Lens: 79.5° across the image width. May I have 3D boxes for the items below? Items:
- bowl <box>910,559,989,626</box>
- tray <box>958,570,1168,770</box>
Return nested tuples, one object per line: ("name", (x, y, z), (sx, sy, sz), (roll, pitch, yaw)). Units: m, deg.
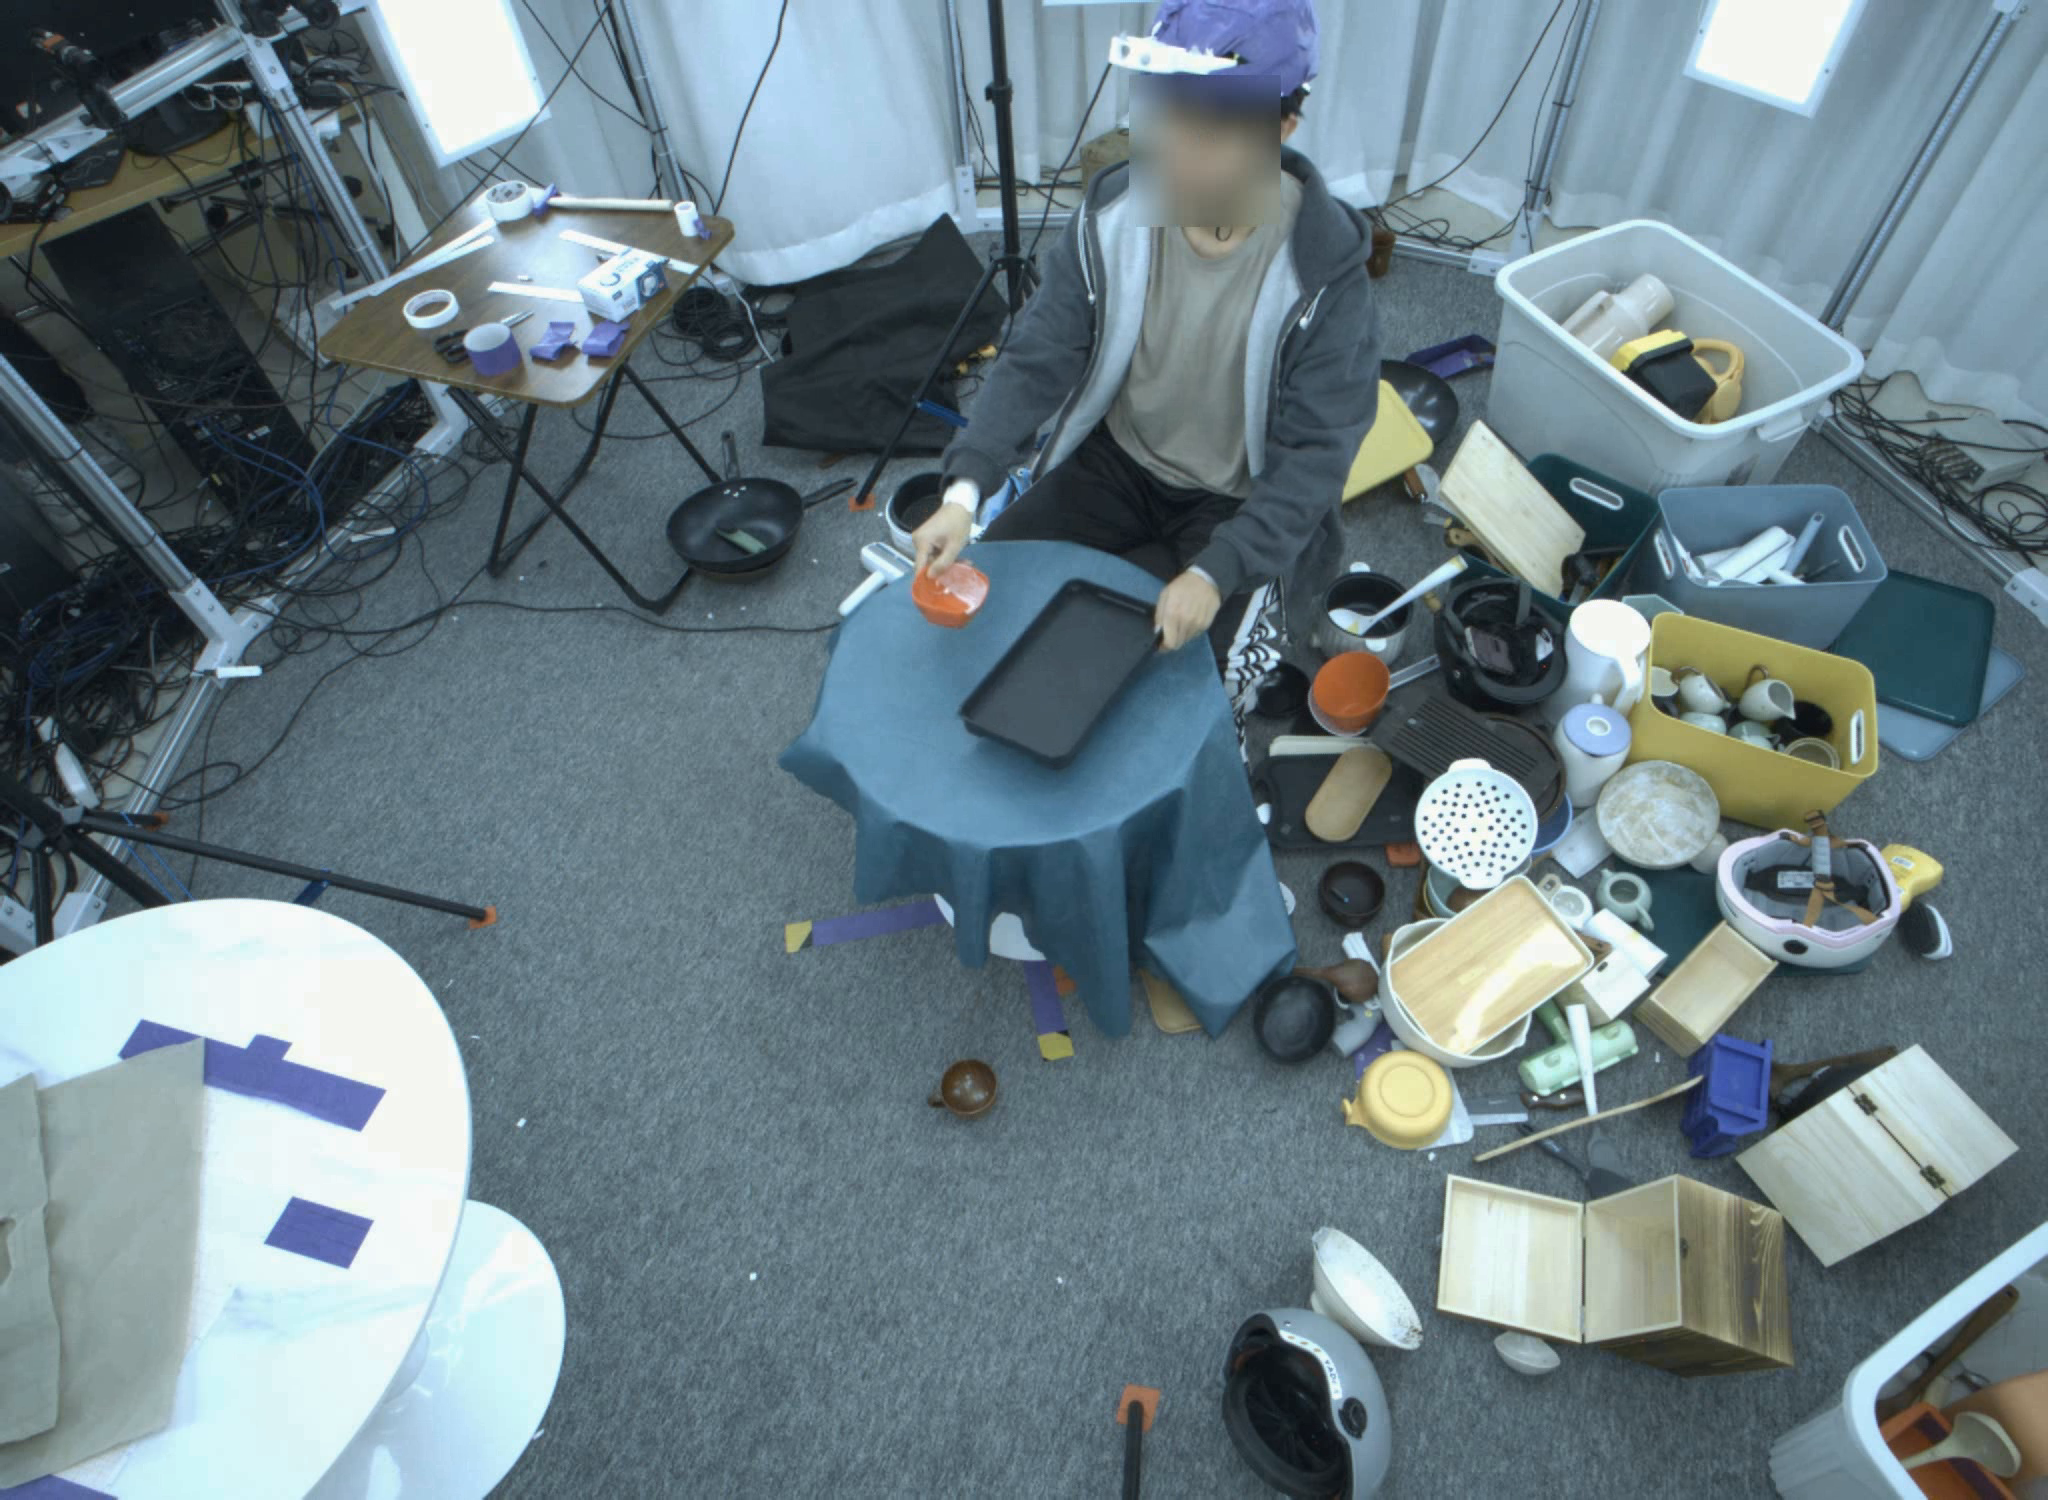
("bowl", (-0.109, -0.224, 1.787), (0.119, 0.052, 0.117), (3, 49, -2))
("tray", (0.060, -0.122, 1.785), (0.181, 0.037, 0.319), (24, 61, 22))
